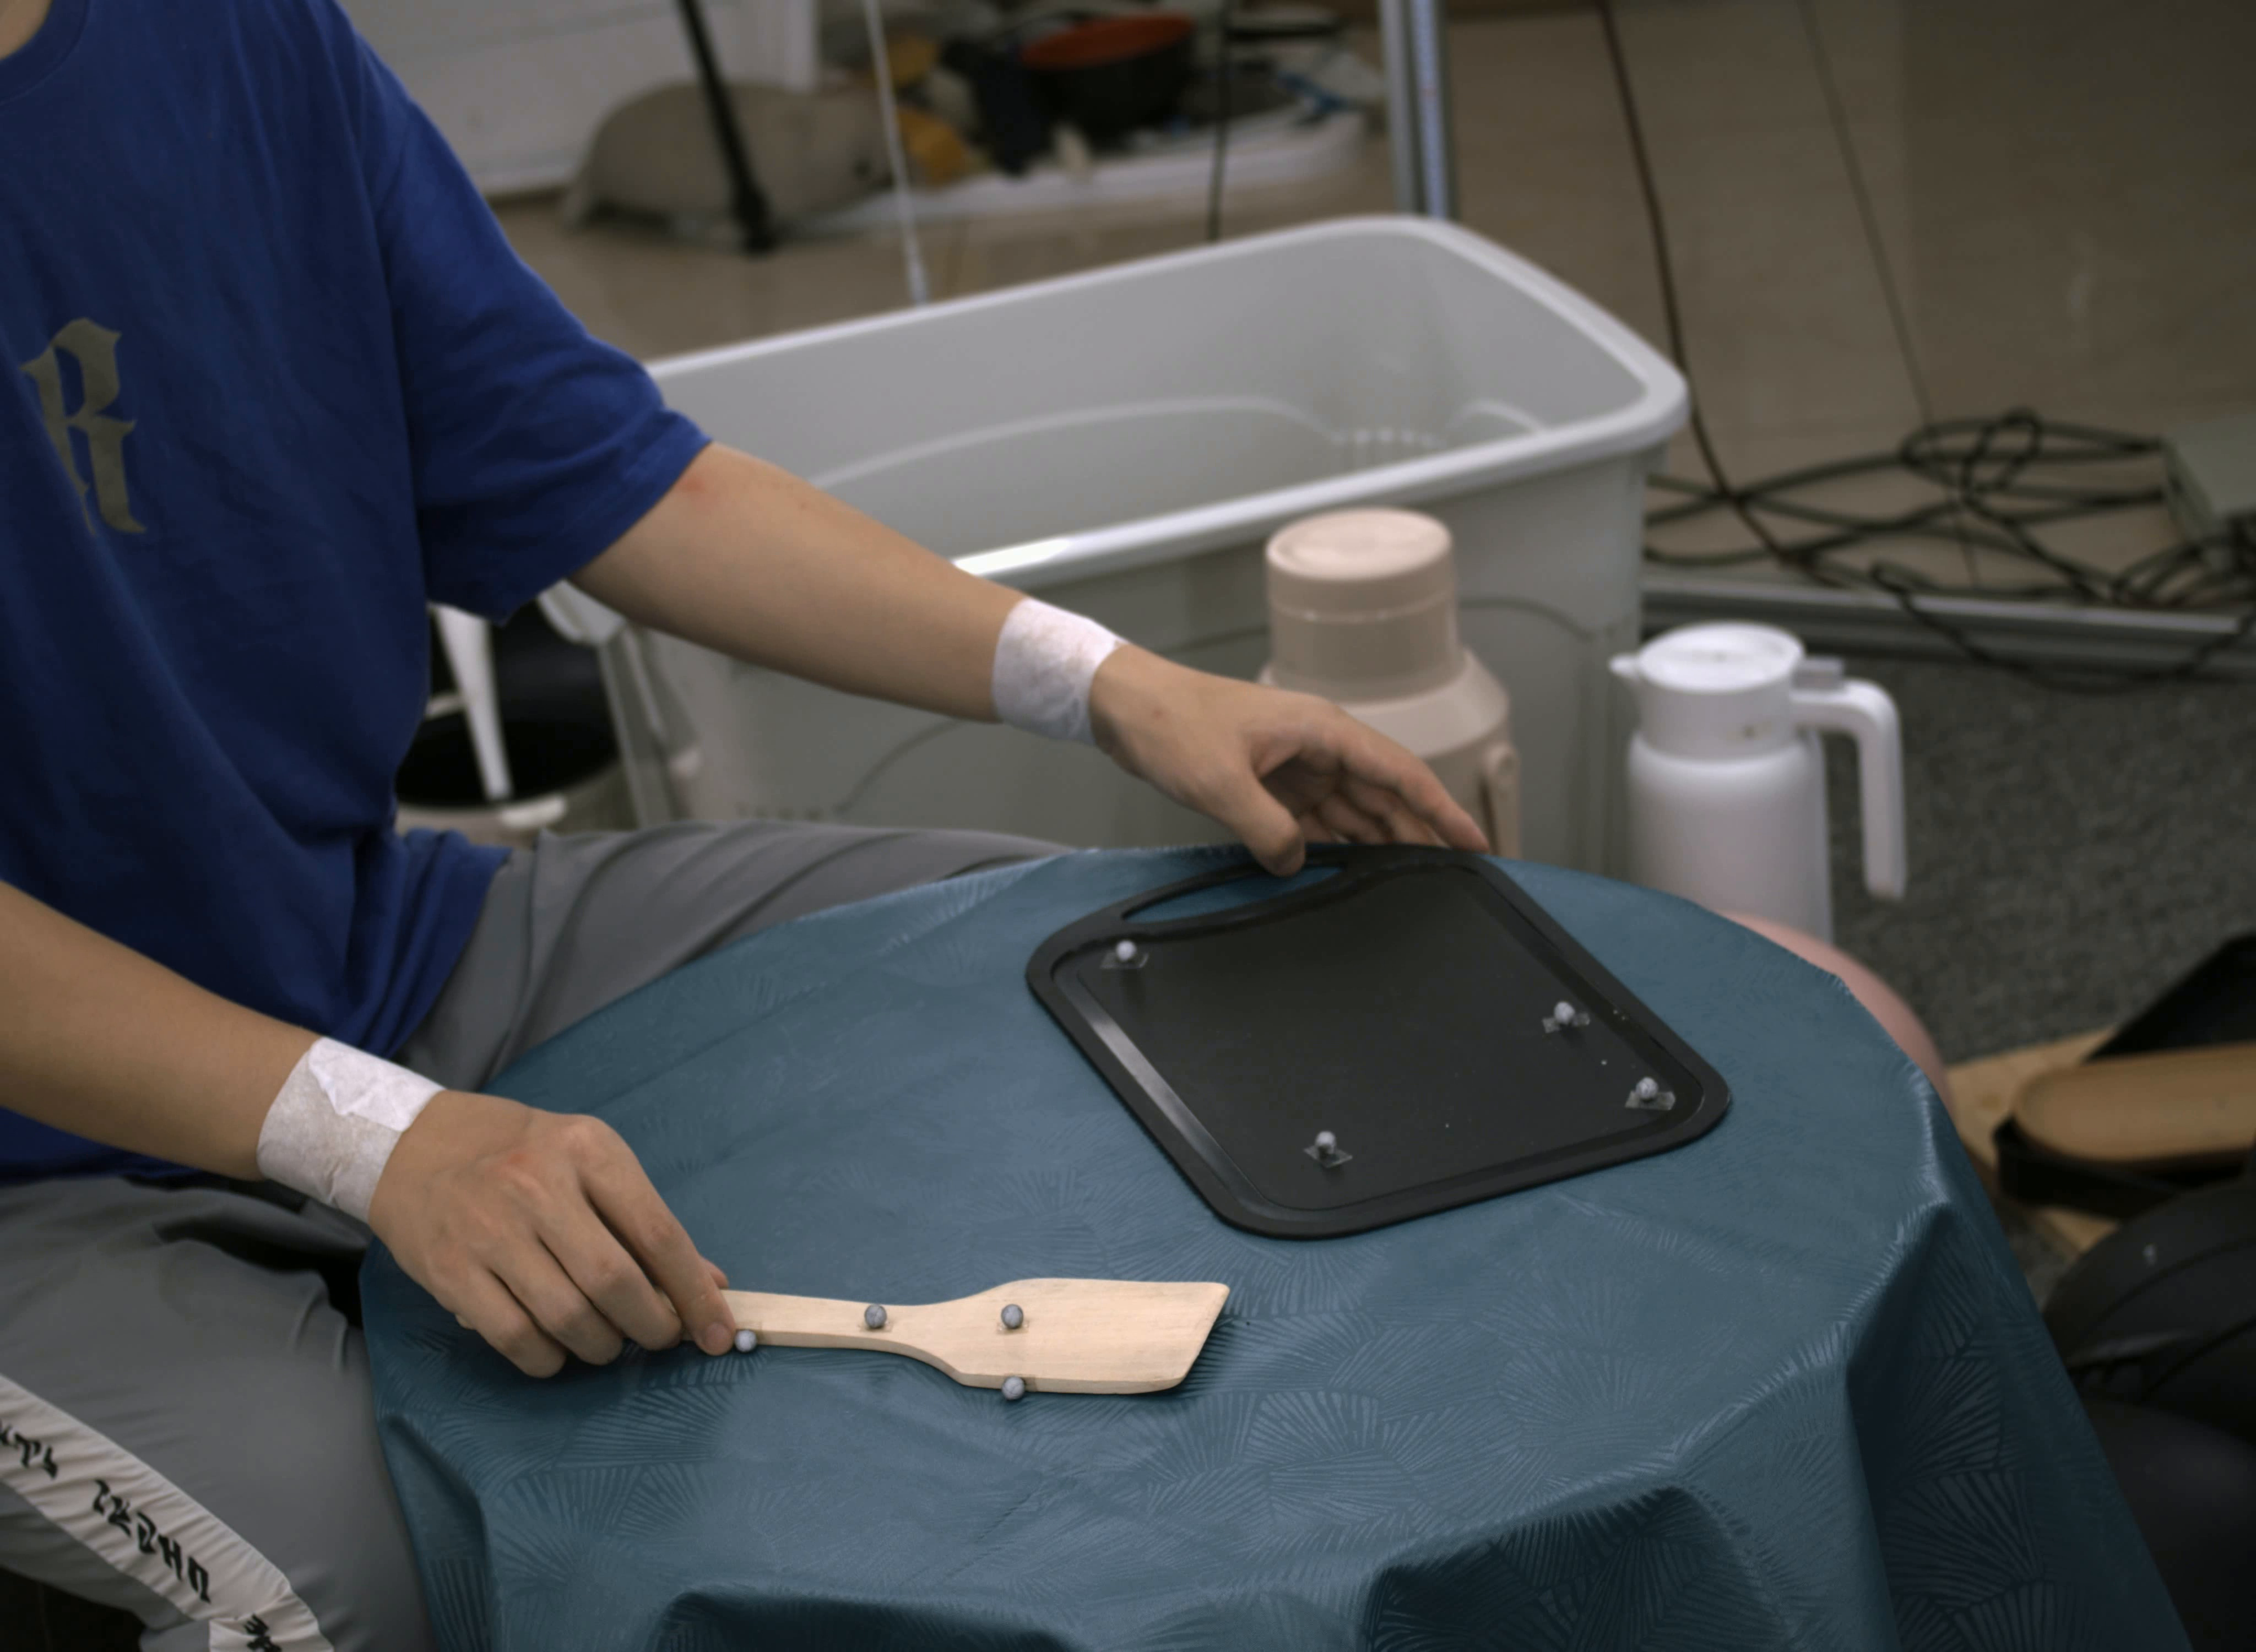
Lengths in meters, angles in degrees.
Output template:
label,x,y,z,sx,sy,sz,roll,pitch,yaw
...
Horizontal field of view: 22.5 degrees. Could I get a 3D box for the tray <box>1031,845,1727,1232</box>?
label,x,y,z,sx,sy,sz,roll,pitch,yaw
tray,0.090,0.076,2.251,0.210,0.010,0.321,-13,25,-14

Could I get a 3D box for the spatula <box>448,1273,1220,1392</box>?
label,x,y,z,sx,sy,sz,roll,pitch,yaw
spatula,-0.113,0.180,2.075,0.292,0.011,0.071,1,27,17
